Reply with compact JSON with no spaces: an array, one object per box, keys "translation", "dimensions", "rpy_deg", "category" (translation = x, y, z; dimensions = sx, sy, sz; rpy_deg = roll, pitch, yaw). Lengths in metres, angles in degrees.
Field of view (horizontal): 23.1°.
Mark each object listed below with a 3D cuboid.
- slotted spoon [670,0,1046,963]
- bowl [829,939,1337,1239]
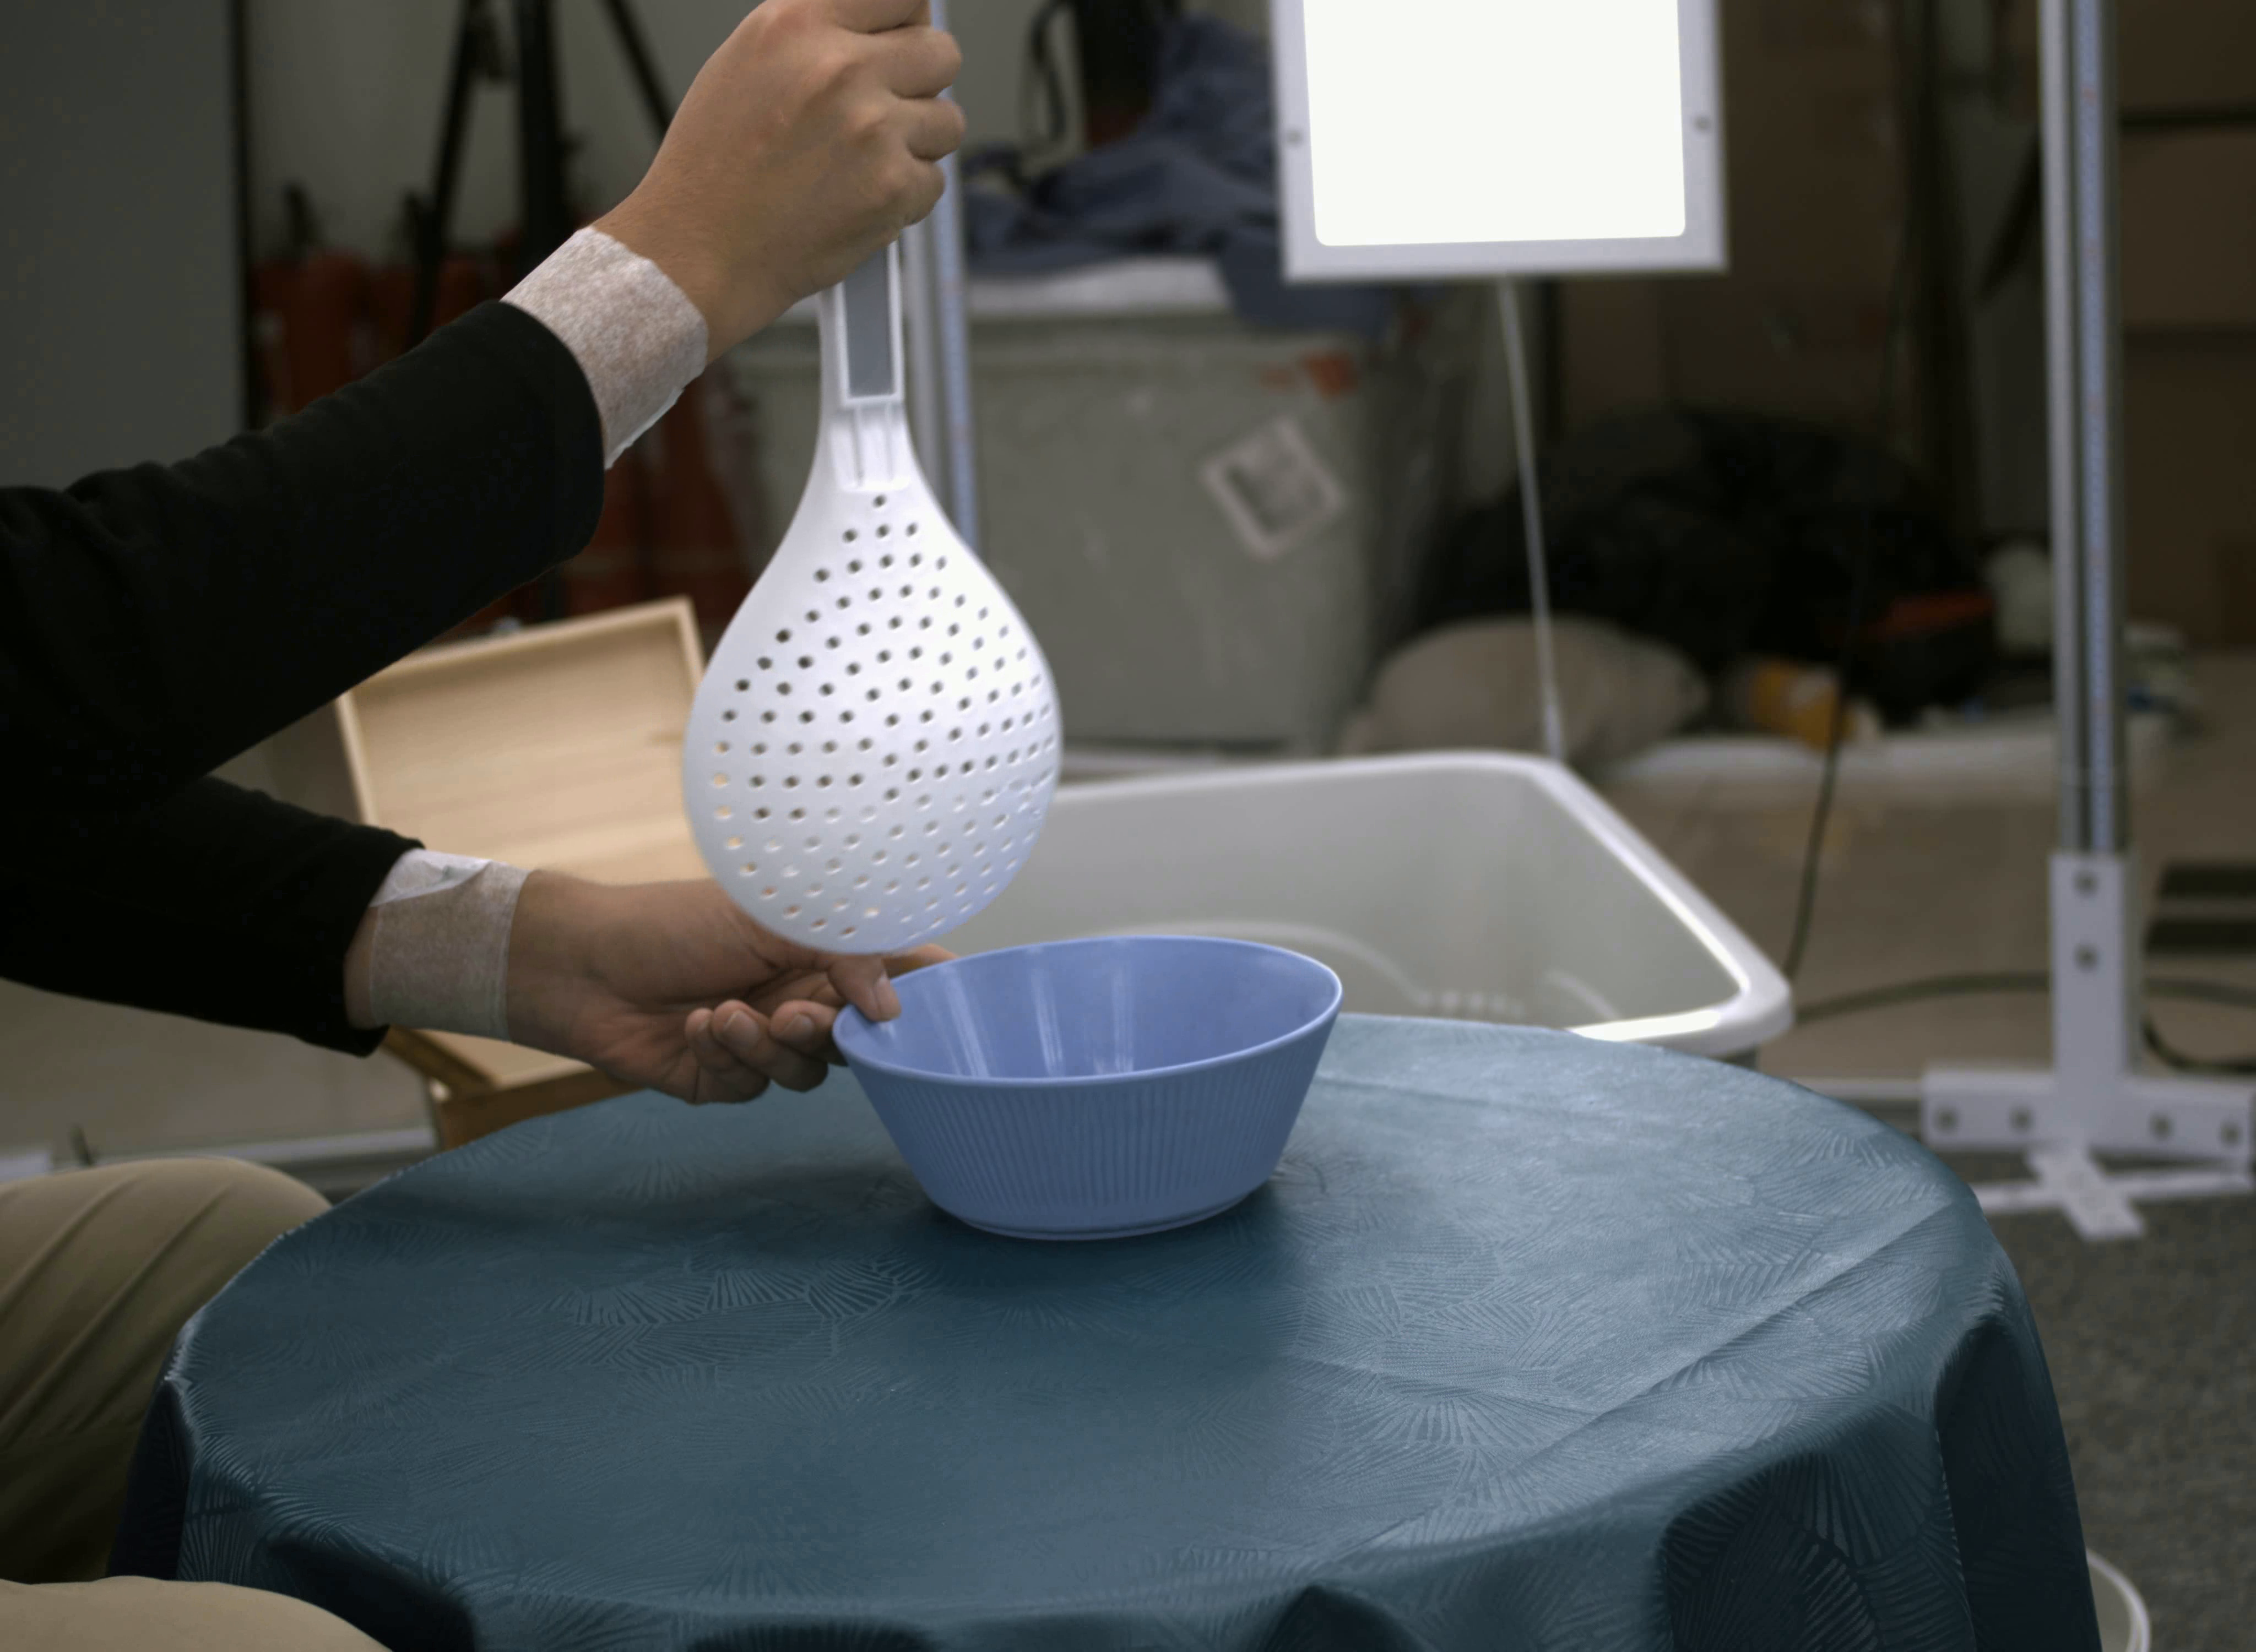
[{"translation":[-0.090,-0.126,1.835],"dimensions":[0.133,0.351,0.046],"rpy_deg":[-6,7,-20],"category":"slotted spoon"},{"translation":[-0.013,0.093,1.893],"dimensions":[0.175,0.070,0.176],"rpy_deg":[-6,14,0],"category":"bowl"}]
